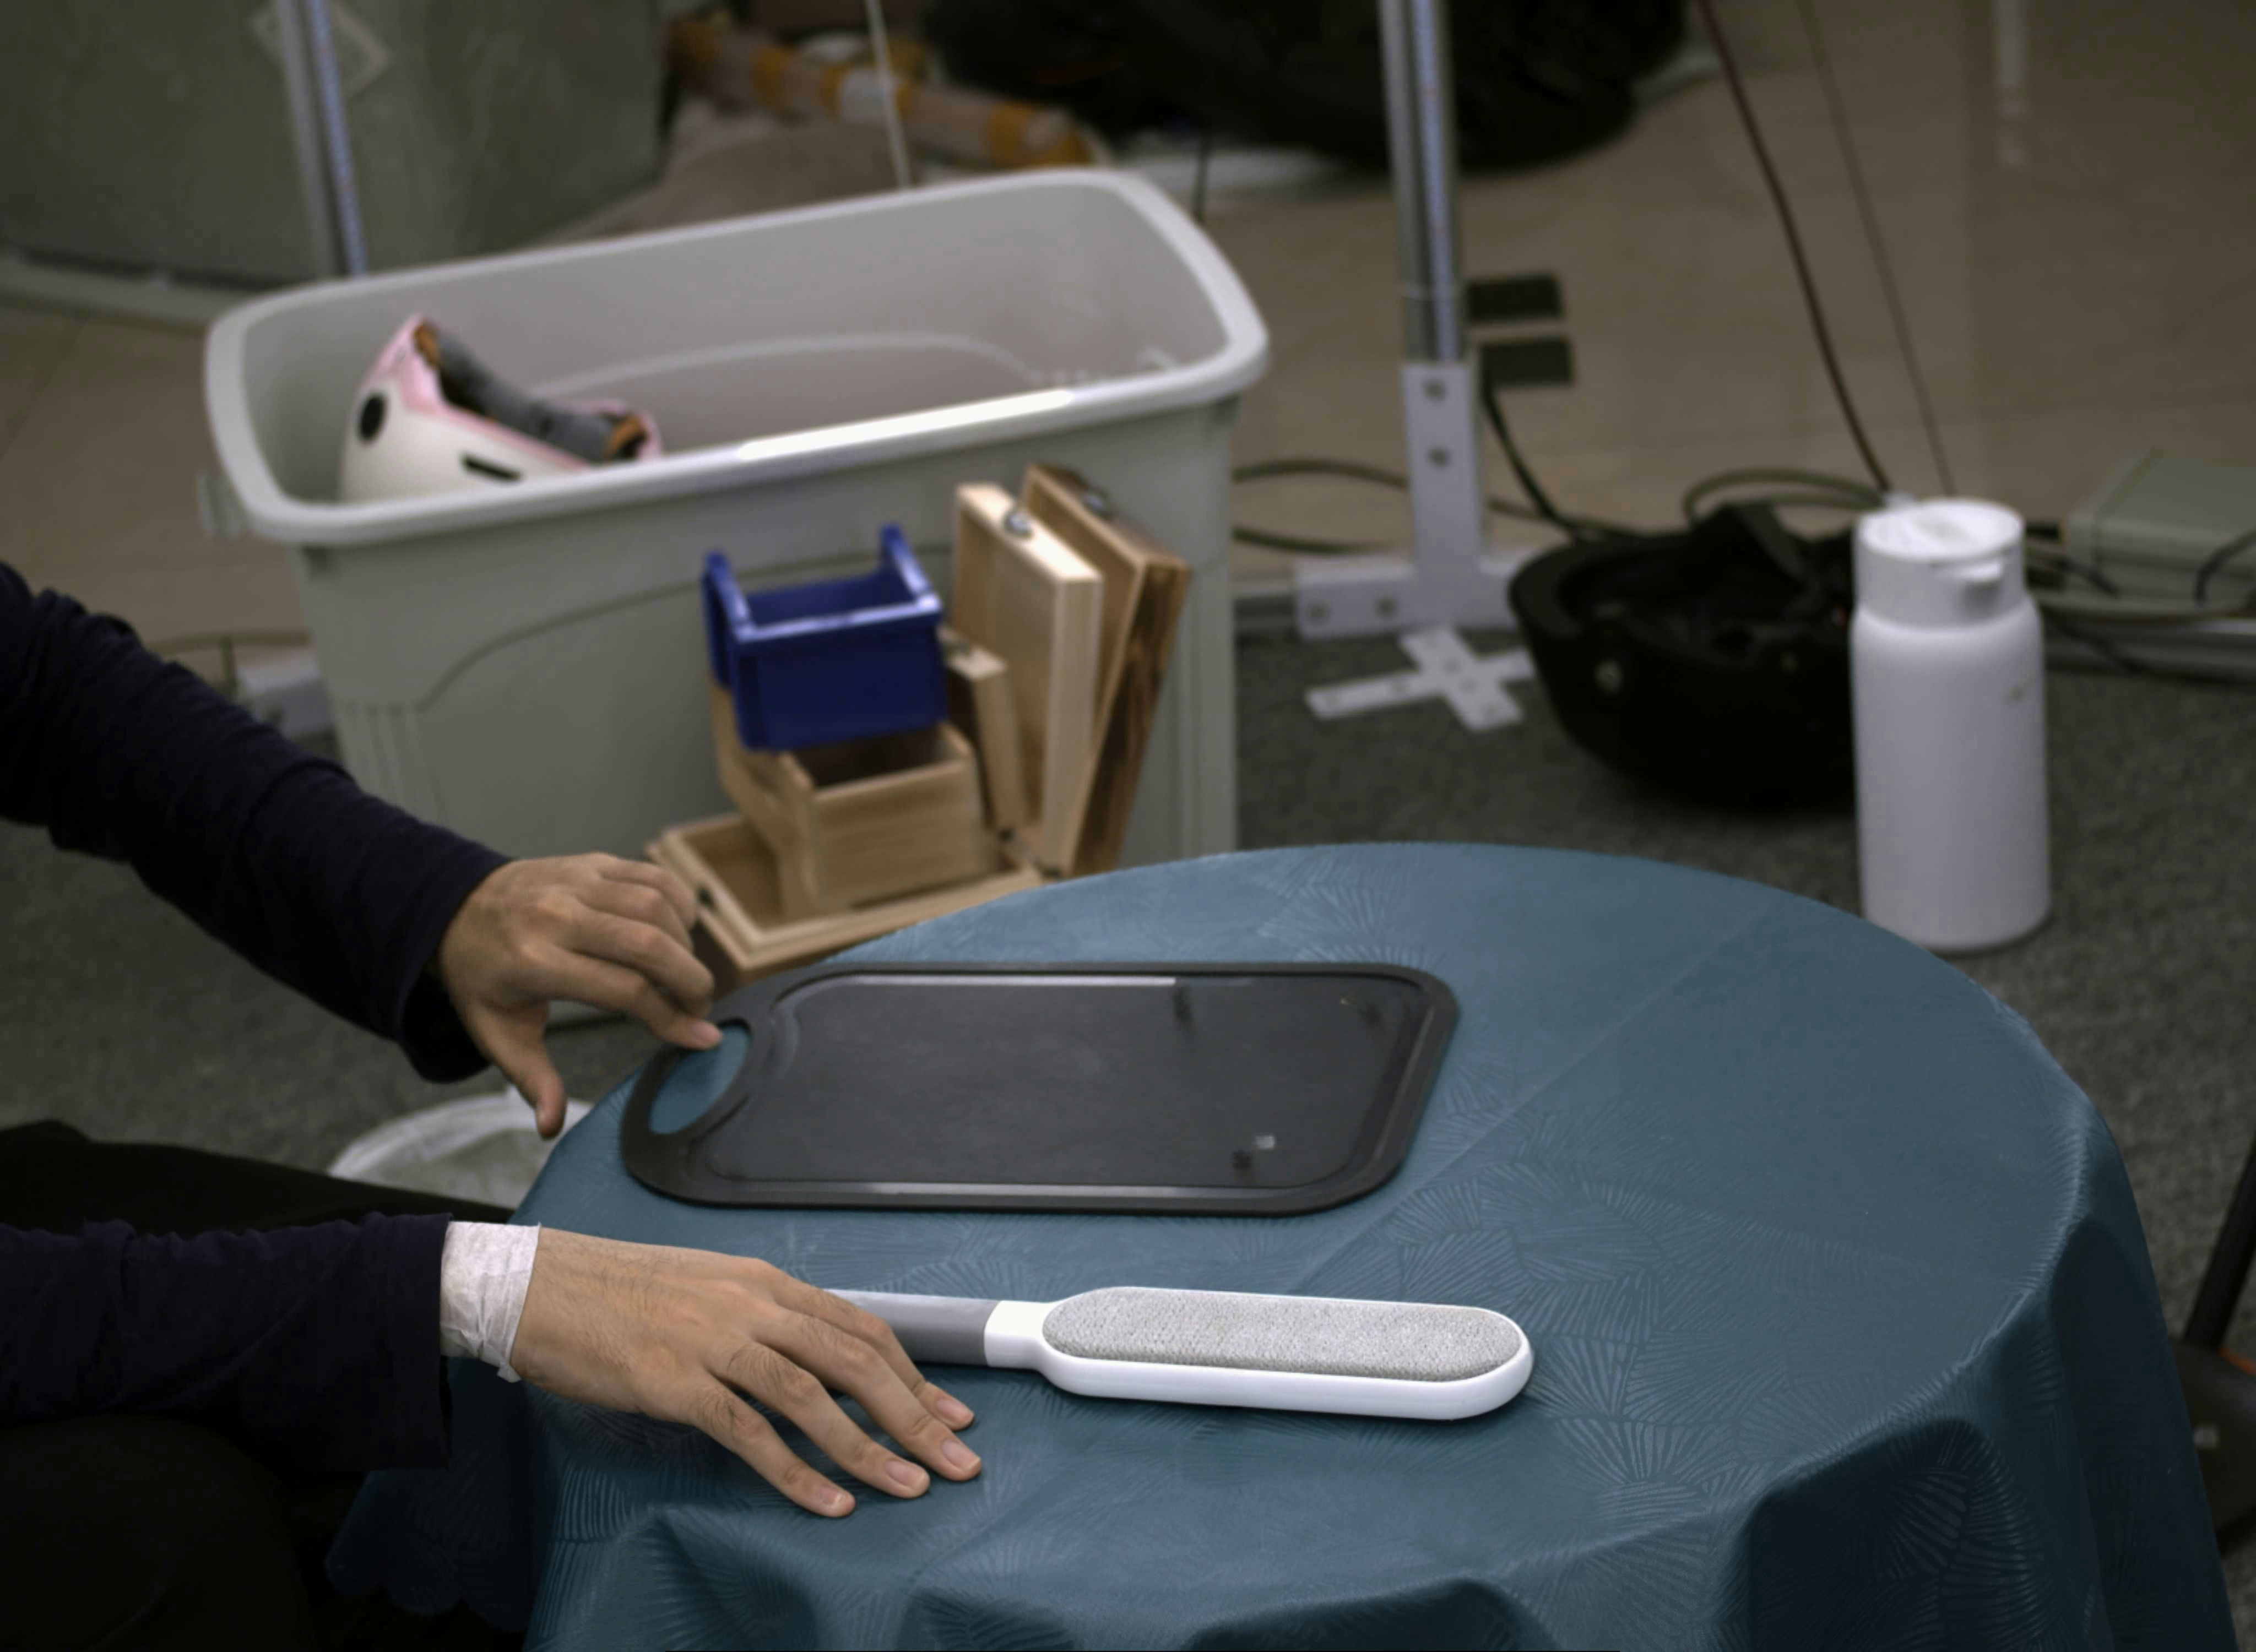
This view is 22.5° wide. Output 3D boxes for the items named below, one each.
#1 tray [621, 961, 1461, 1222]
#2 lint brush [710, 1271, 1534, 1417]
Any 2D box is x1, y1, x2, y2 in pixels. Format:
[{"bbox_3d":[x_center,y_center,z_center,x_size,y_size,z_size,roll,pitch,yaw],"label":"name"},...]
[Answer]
[{"bbox_3d":[-0.039,0.101,2.238,0.325,0.010,0.208,0,25,15],"label":"tray"},{"bbox_3d":[-0.006,0.181,2.030,0.308,0.021,0.059,2,32,19],"label":"lint brush"}]
